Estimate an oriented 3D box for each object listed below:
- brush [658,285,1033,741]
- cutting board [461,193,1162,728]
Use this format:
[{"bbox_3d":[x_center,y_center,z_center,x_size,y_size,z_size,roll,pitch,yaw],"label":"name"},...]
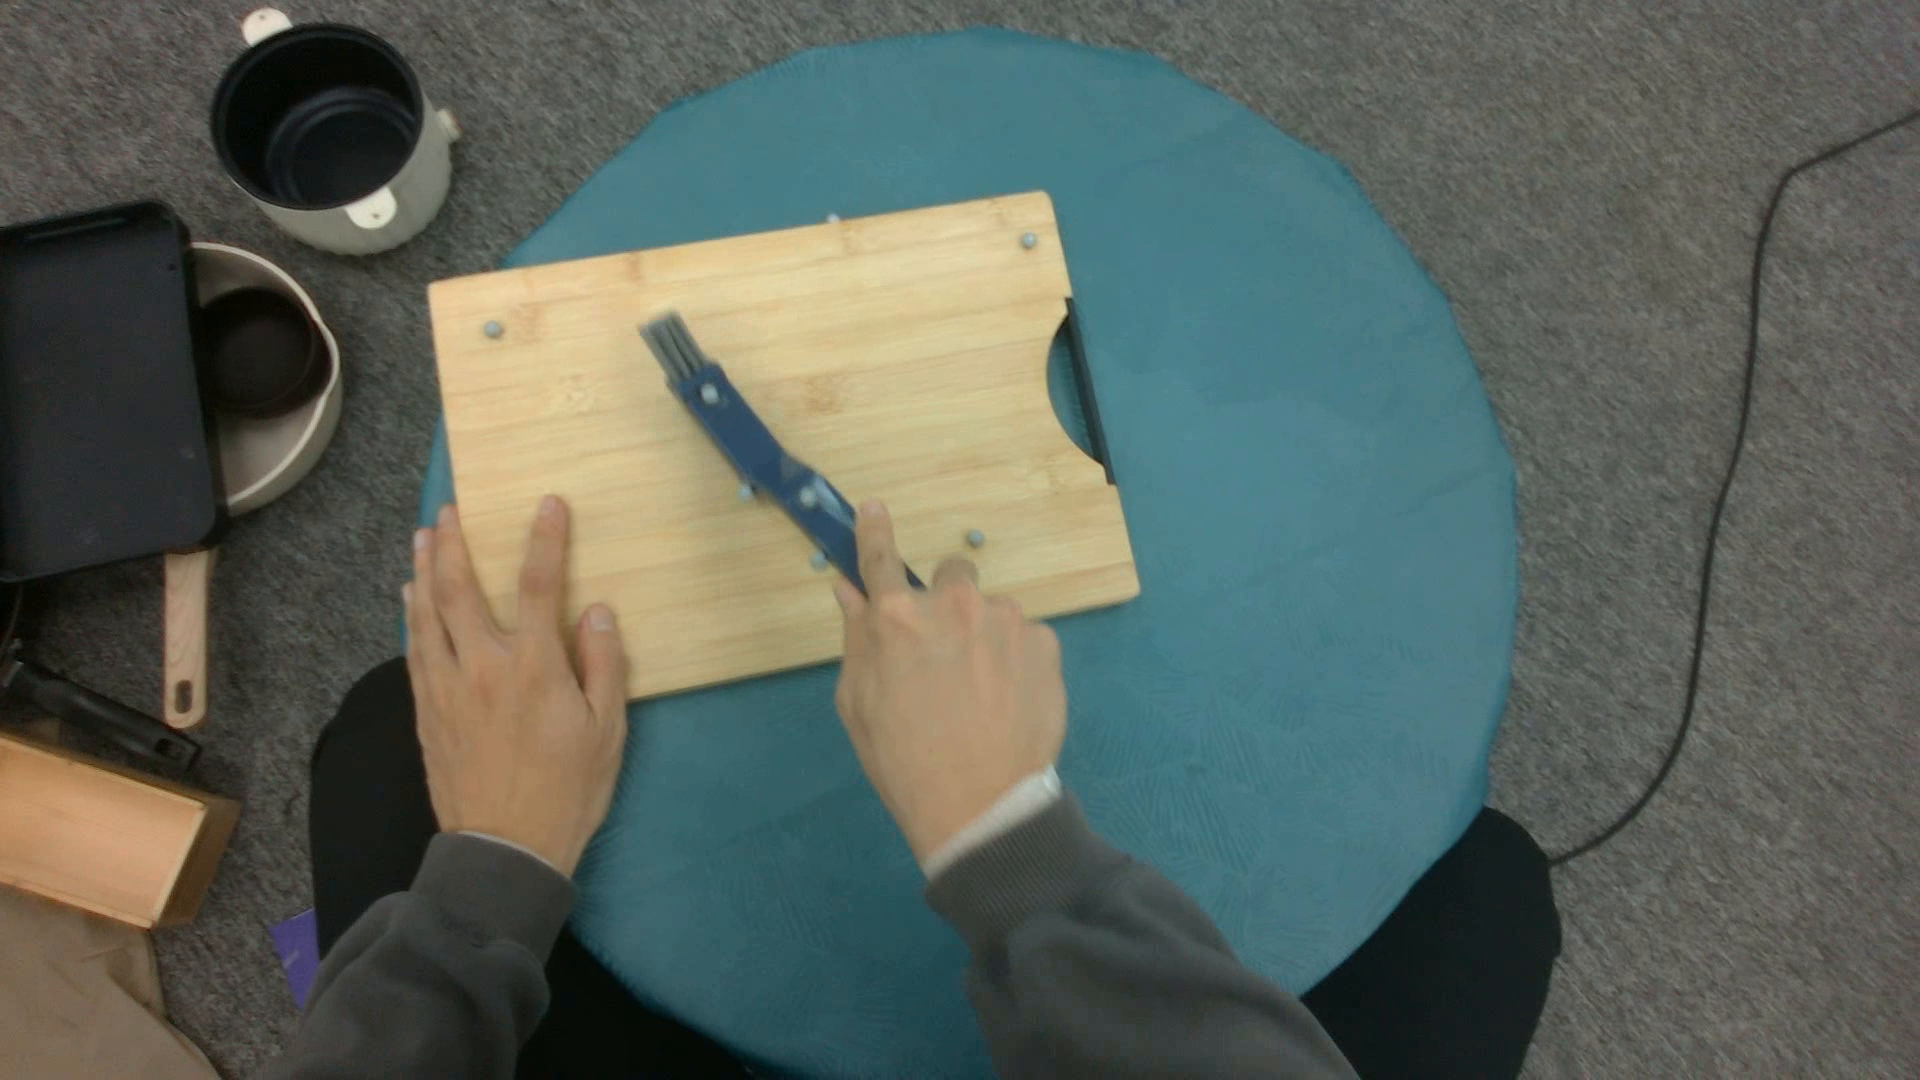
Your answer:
[{"bbox_3d":[-0.063,-0.018,0.652,0.033,0.095,0.273,-32,53,-20],"label":"brush"},{"bbox_3d":[-0.085,-0.050,0.755,0.349,0.023,0.251,-12,79,-7],"label":"cutting board"}]
